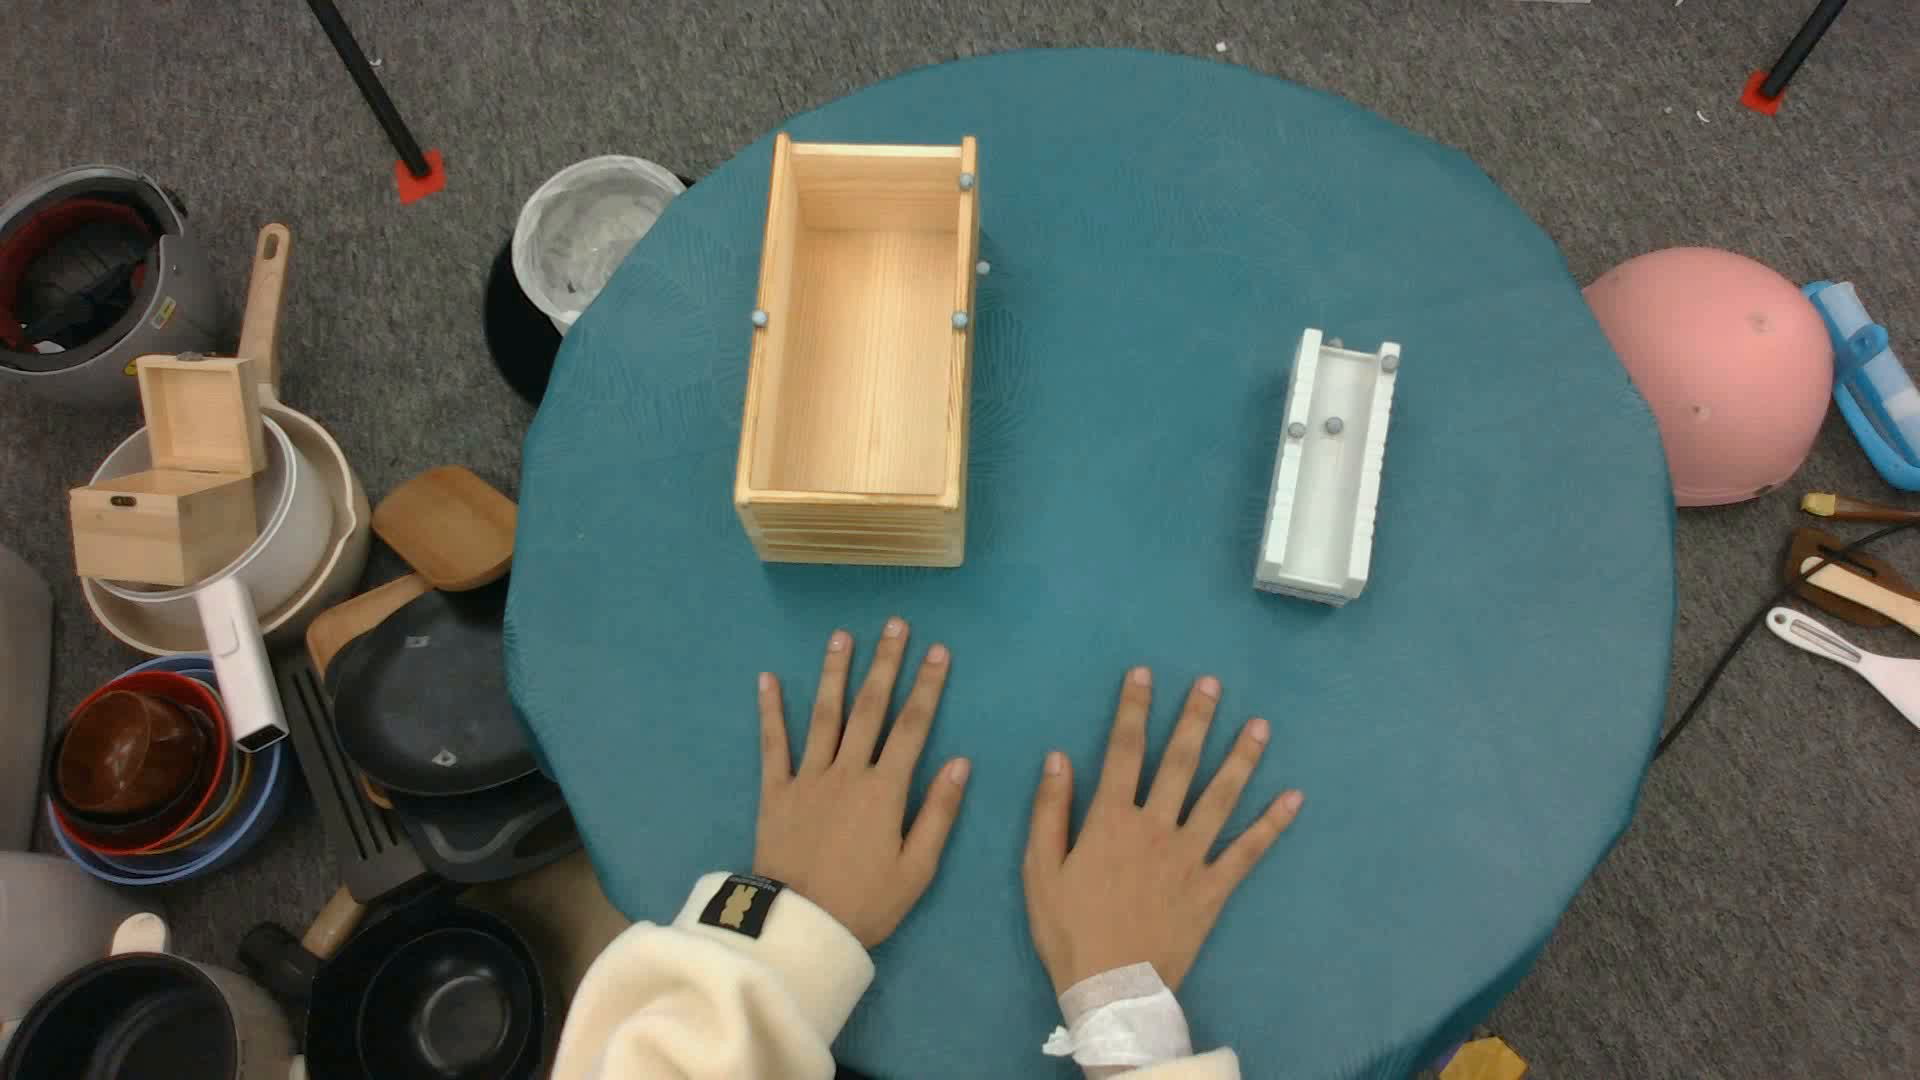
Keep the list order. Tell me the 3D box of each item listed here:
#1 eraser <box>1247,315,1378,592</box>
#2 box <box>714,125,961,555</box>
[{"bbox_3d":[0.178,-0.044,0.700,0.050,0.046,0.135,11,67,3],"label":"eraser"},{"bbox_3d":[-0.057,-0.104,0.711,0.107,0.080,0.212,1,67,2],"label":"box"}]
